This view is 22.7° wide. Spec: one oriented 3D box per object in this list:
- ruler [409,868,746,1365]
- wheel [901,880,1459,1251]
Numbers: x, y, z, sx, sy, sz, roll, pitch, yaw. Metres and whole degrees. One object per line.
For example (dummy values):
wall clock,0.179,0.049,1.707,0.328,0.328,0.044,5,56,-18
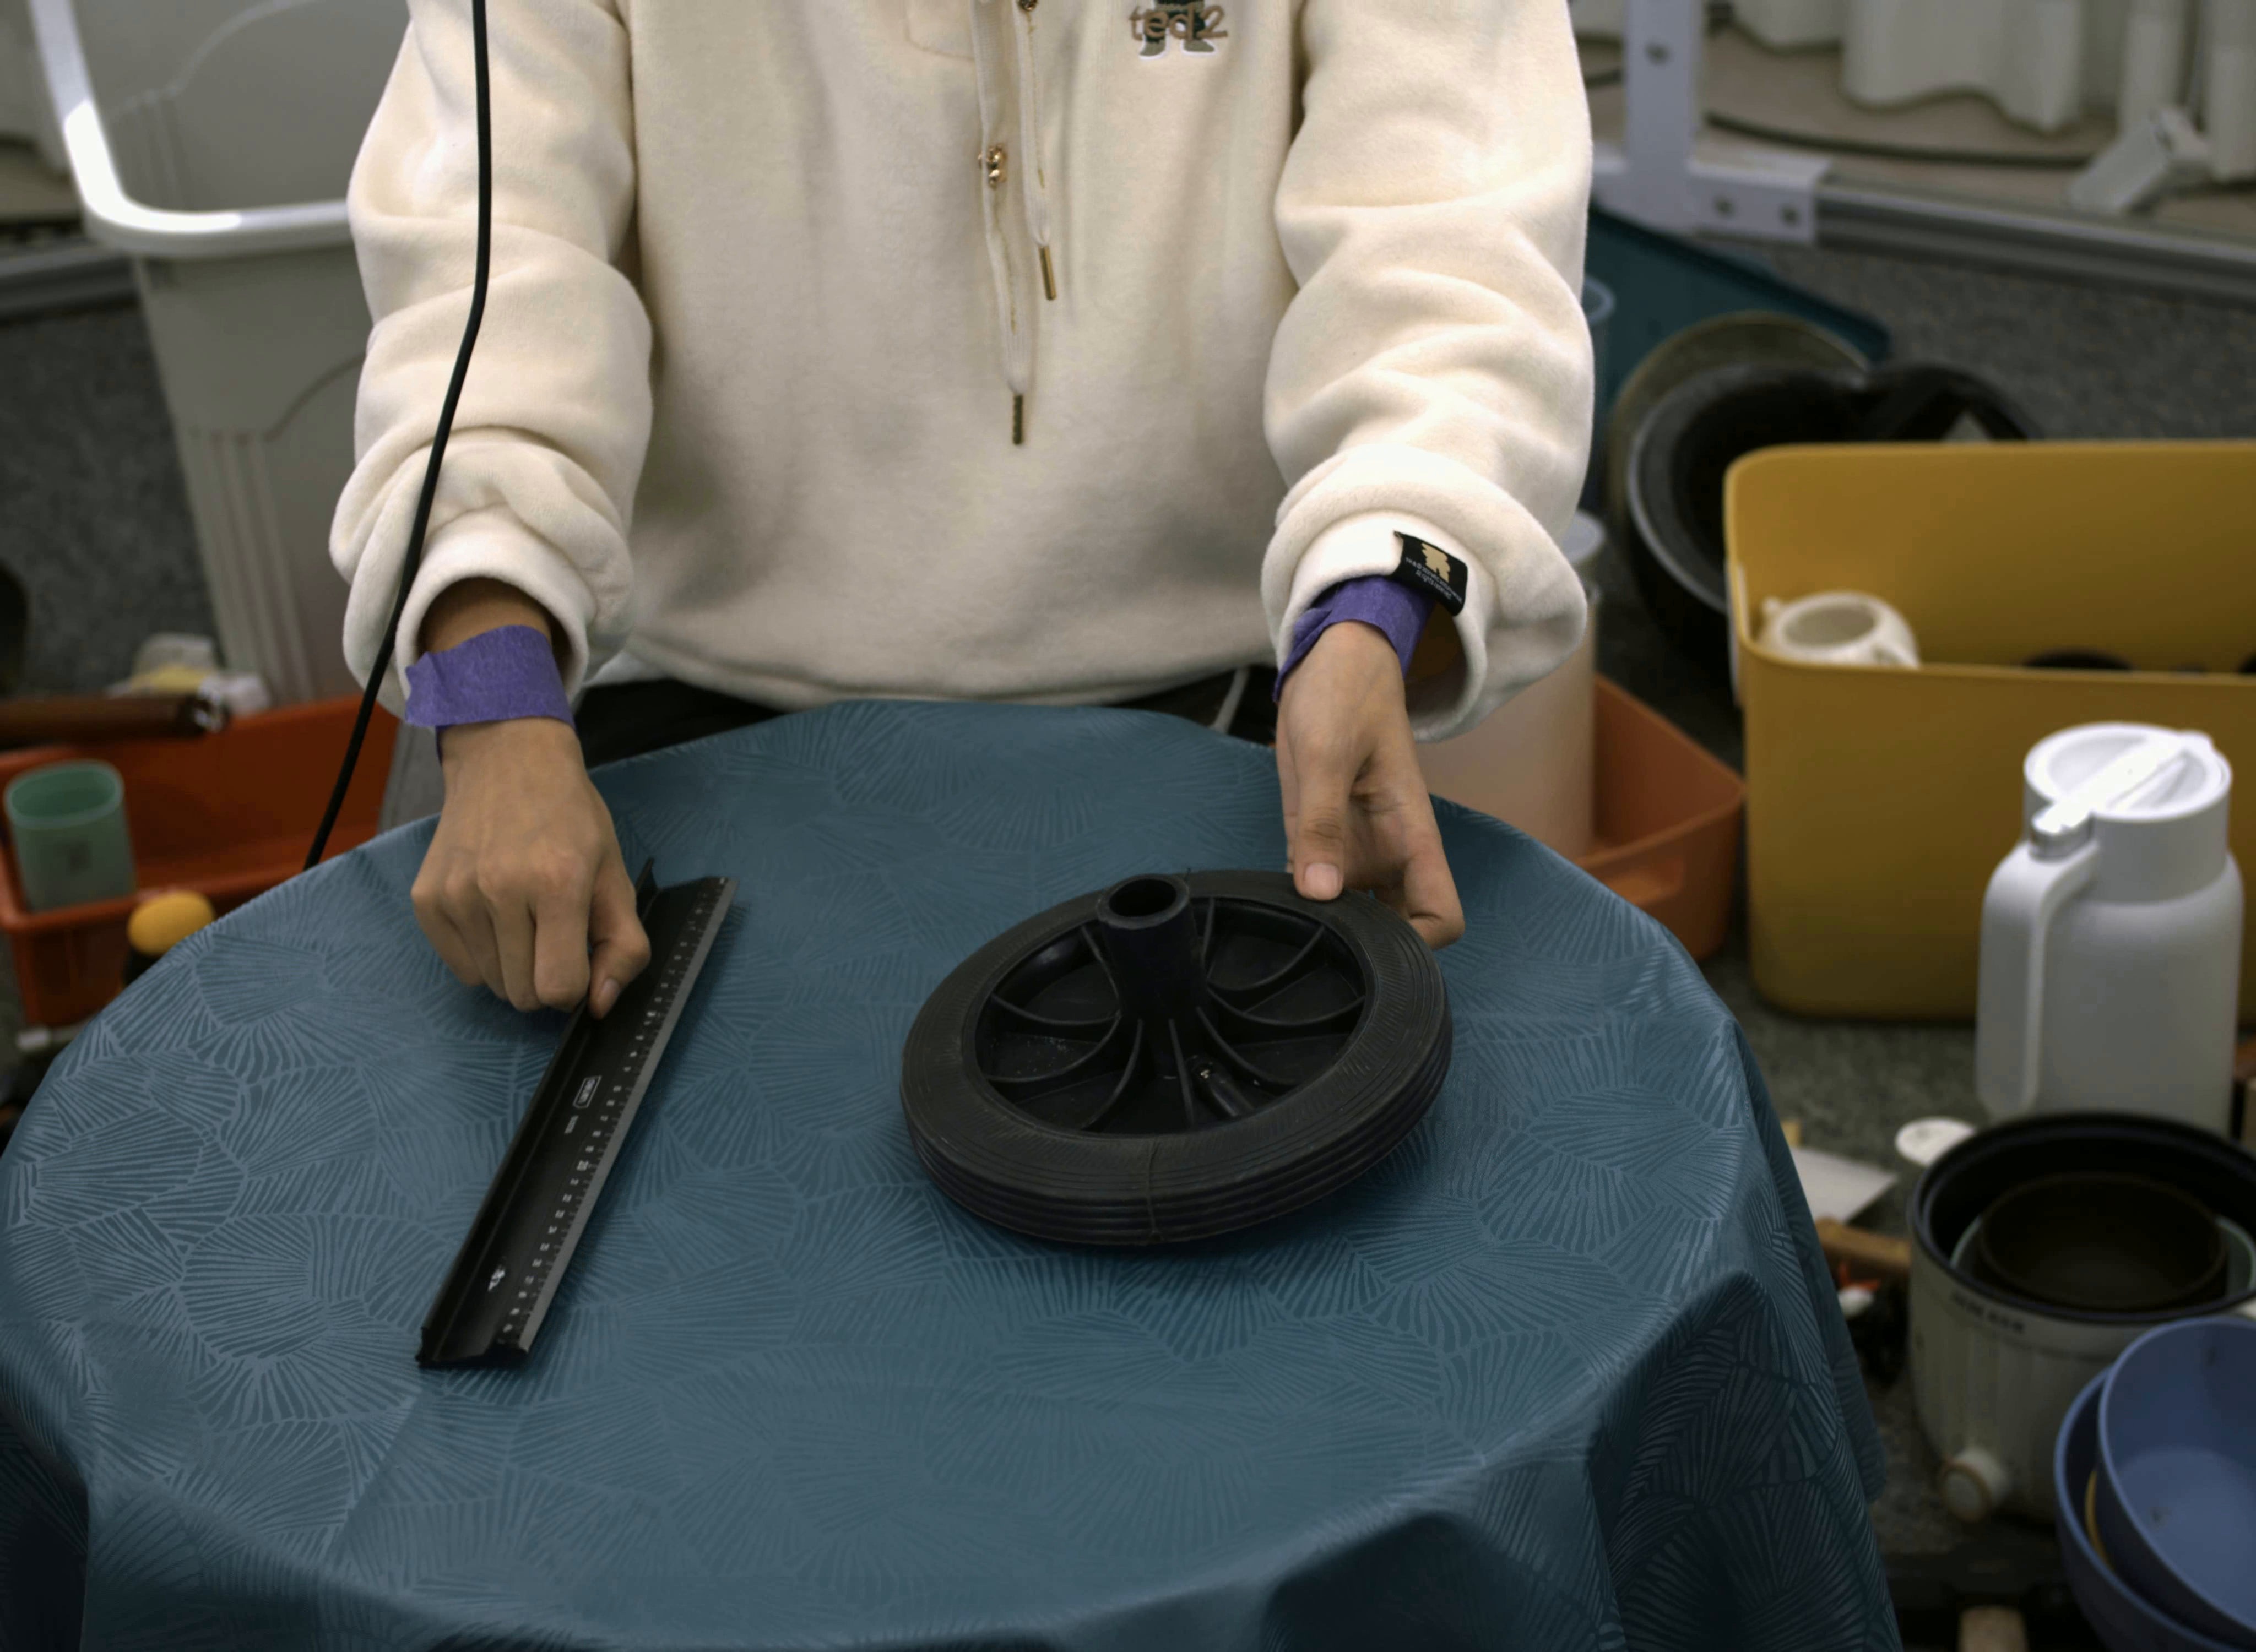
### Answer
ruler,-0.185,0.092,1.912,0.039,0.017,0.318,-3,27,13
wheel,0.014,0.061,1.881,0.189,0.078,0.190,18,42,38
